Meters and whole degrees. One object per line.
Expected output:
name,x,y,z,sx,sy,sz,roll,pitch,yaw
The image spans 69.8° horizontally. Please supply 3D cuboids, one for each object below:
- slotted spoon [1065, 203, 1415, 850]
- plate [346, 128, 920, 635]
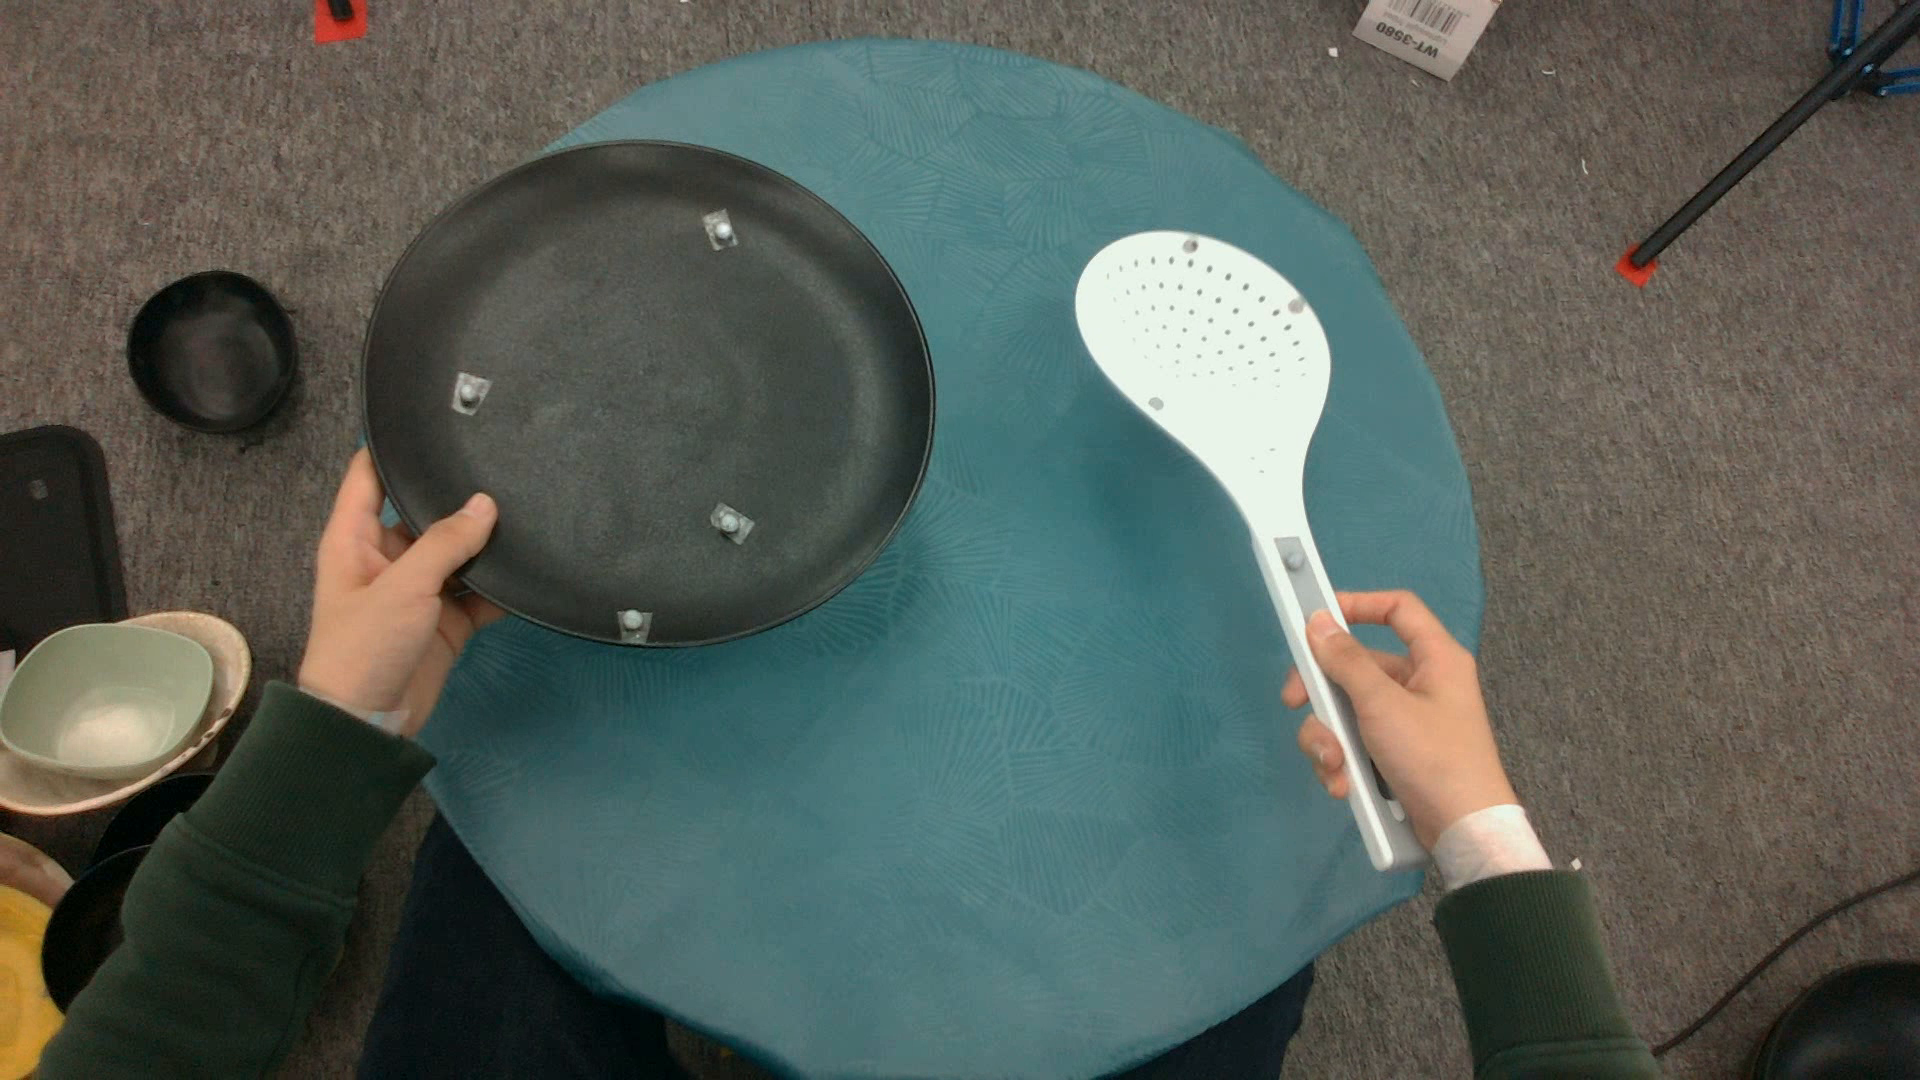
slotted spoon,0.140,-0.023,0.652,0.136,0.045,0.351,-4,56,-18
plate,-0.139,-0.073,0.609,0.244,0.023,0.245,4,70,-12
